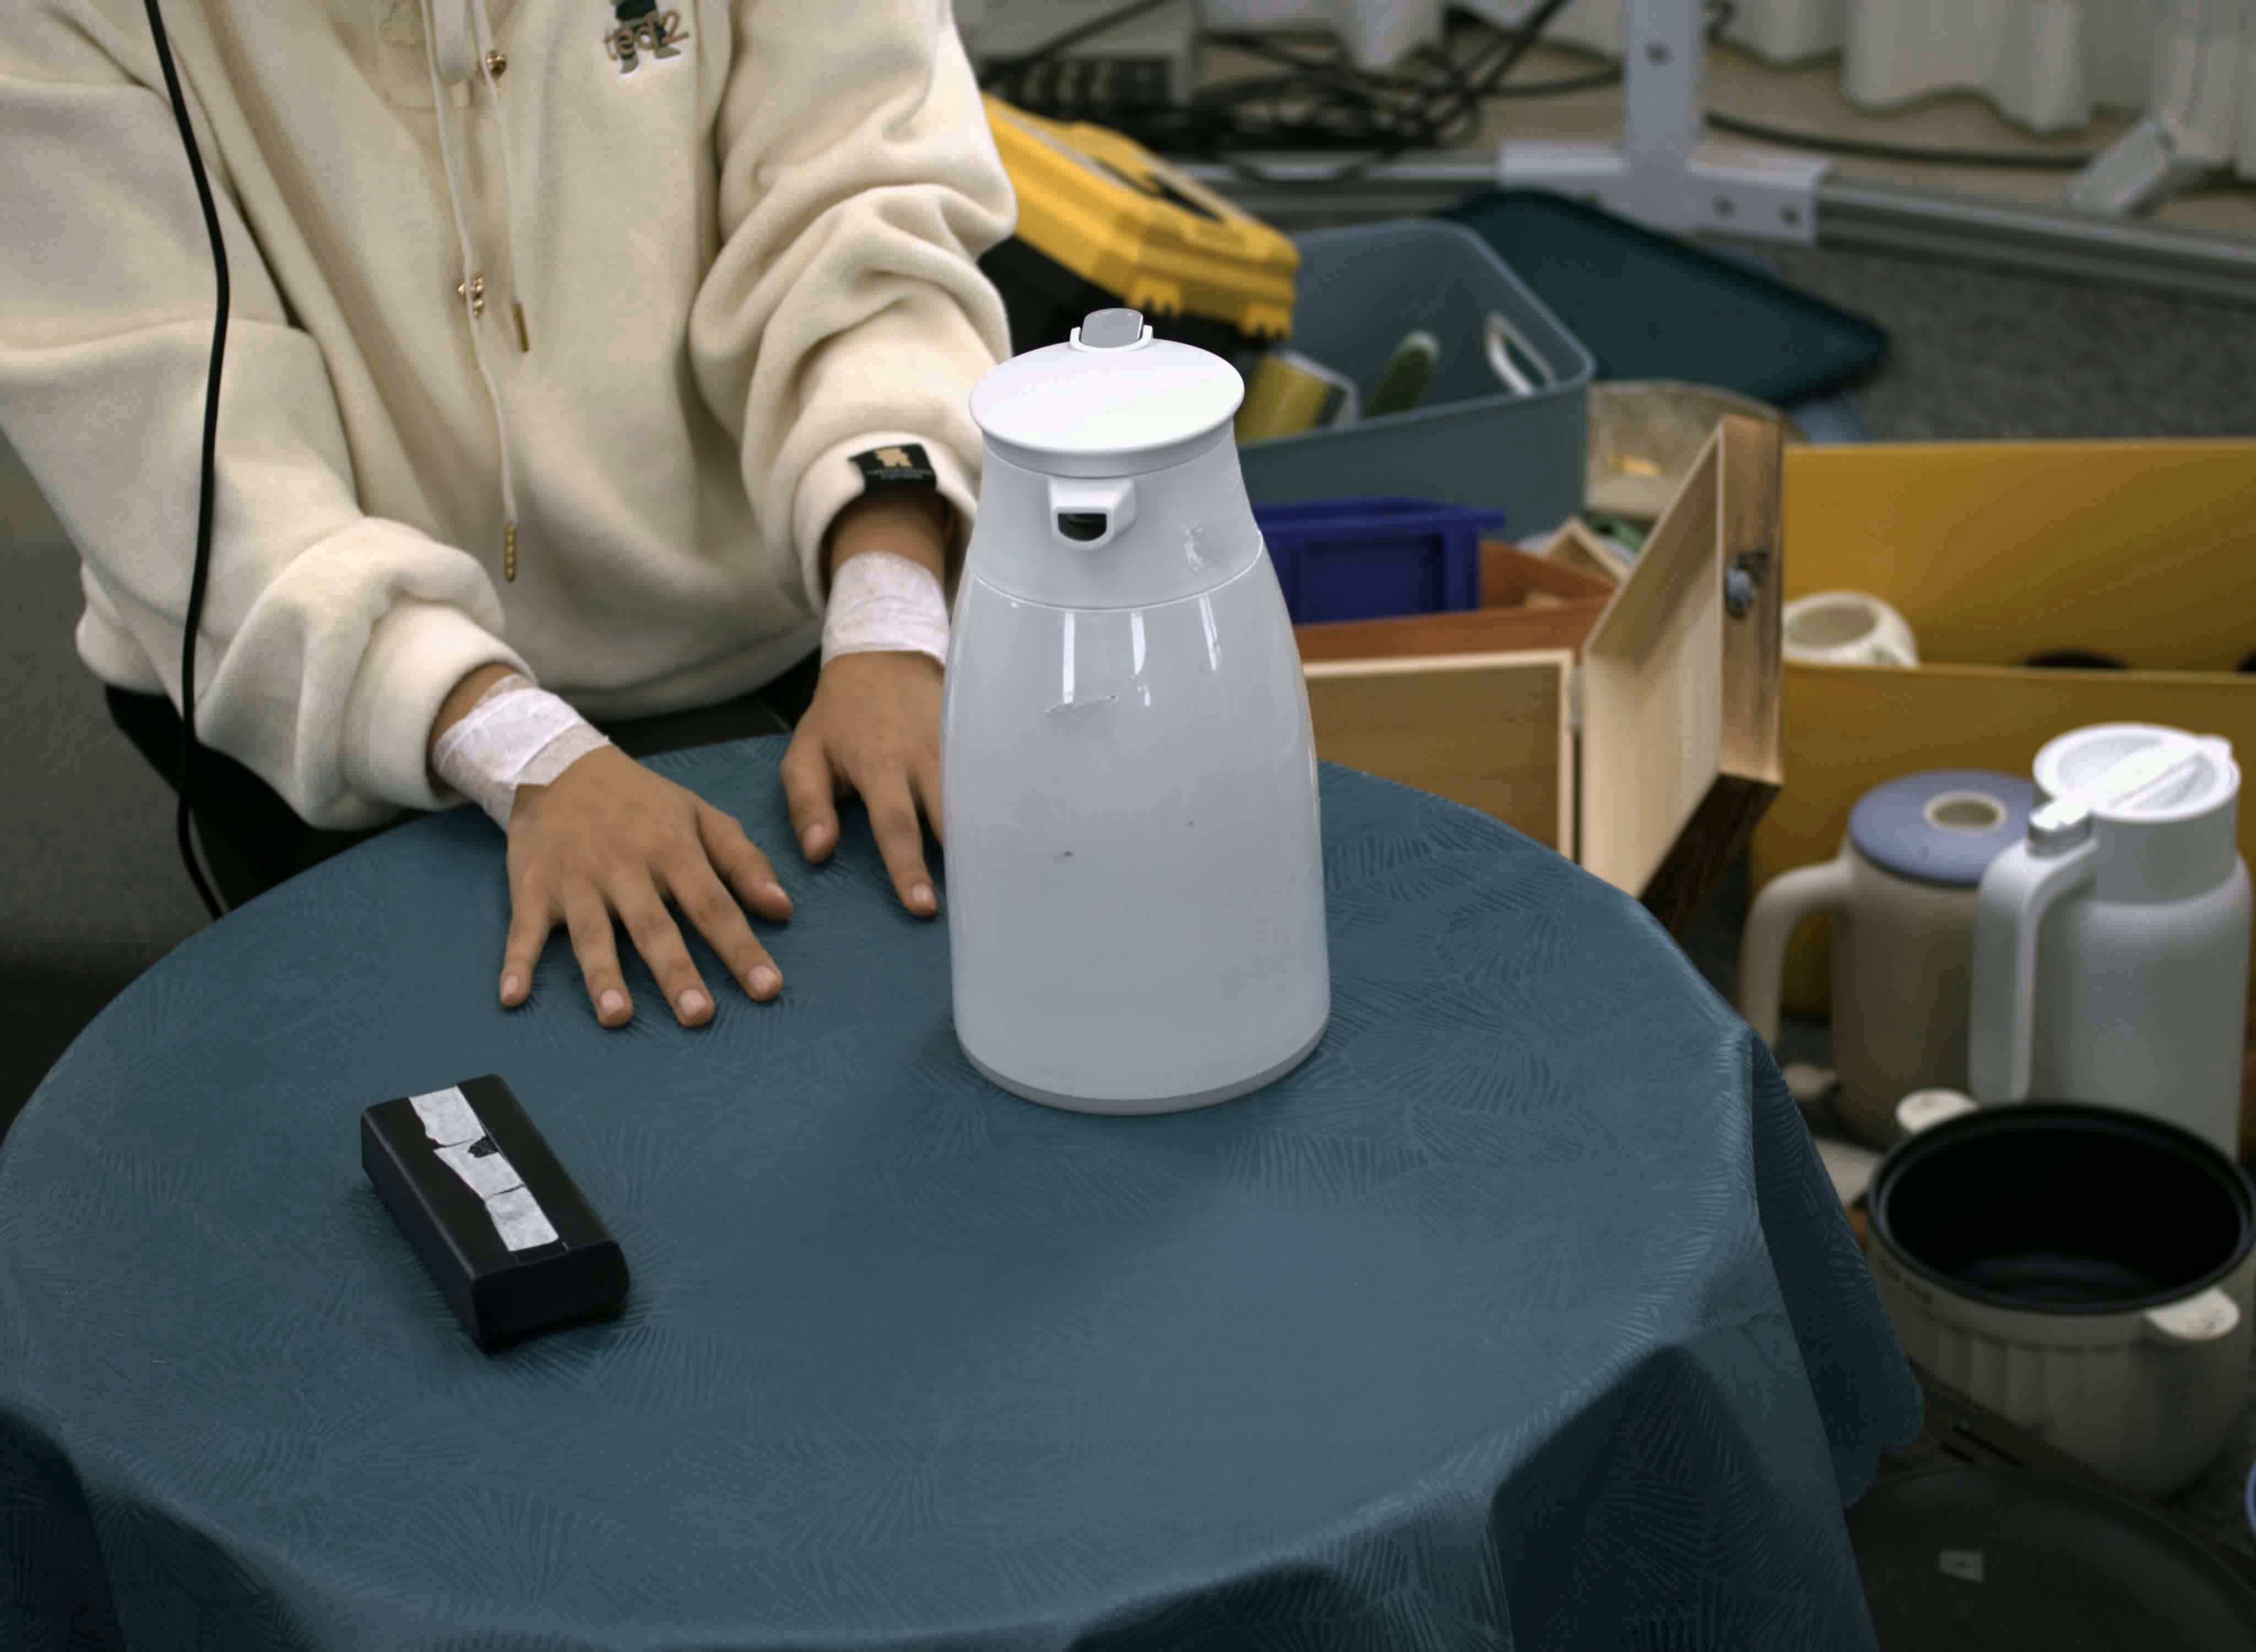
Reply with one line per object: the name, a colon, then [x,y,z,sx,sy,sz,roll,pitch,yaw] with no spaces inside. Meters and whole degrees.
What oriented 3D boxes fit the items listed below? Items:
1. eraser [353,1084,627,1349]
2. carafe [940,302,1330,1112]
eraser: [-0.209,0.127,1.840,0.054,0.030,0.126,-13,28,-22]
carafe: [0.000,-0.051,1.927,0.132,0.246,0.170,0,26,7]
